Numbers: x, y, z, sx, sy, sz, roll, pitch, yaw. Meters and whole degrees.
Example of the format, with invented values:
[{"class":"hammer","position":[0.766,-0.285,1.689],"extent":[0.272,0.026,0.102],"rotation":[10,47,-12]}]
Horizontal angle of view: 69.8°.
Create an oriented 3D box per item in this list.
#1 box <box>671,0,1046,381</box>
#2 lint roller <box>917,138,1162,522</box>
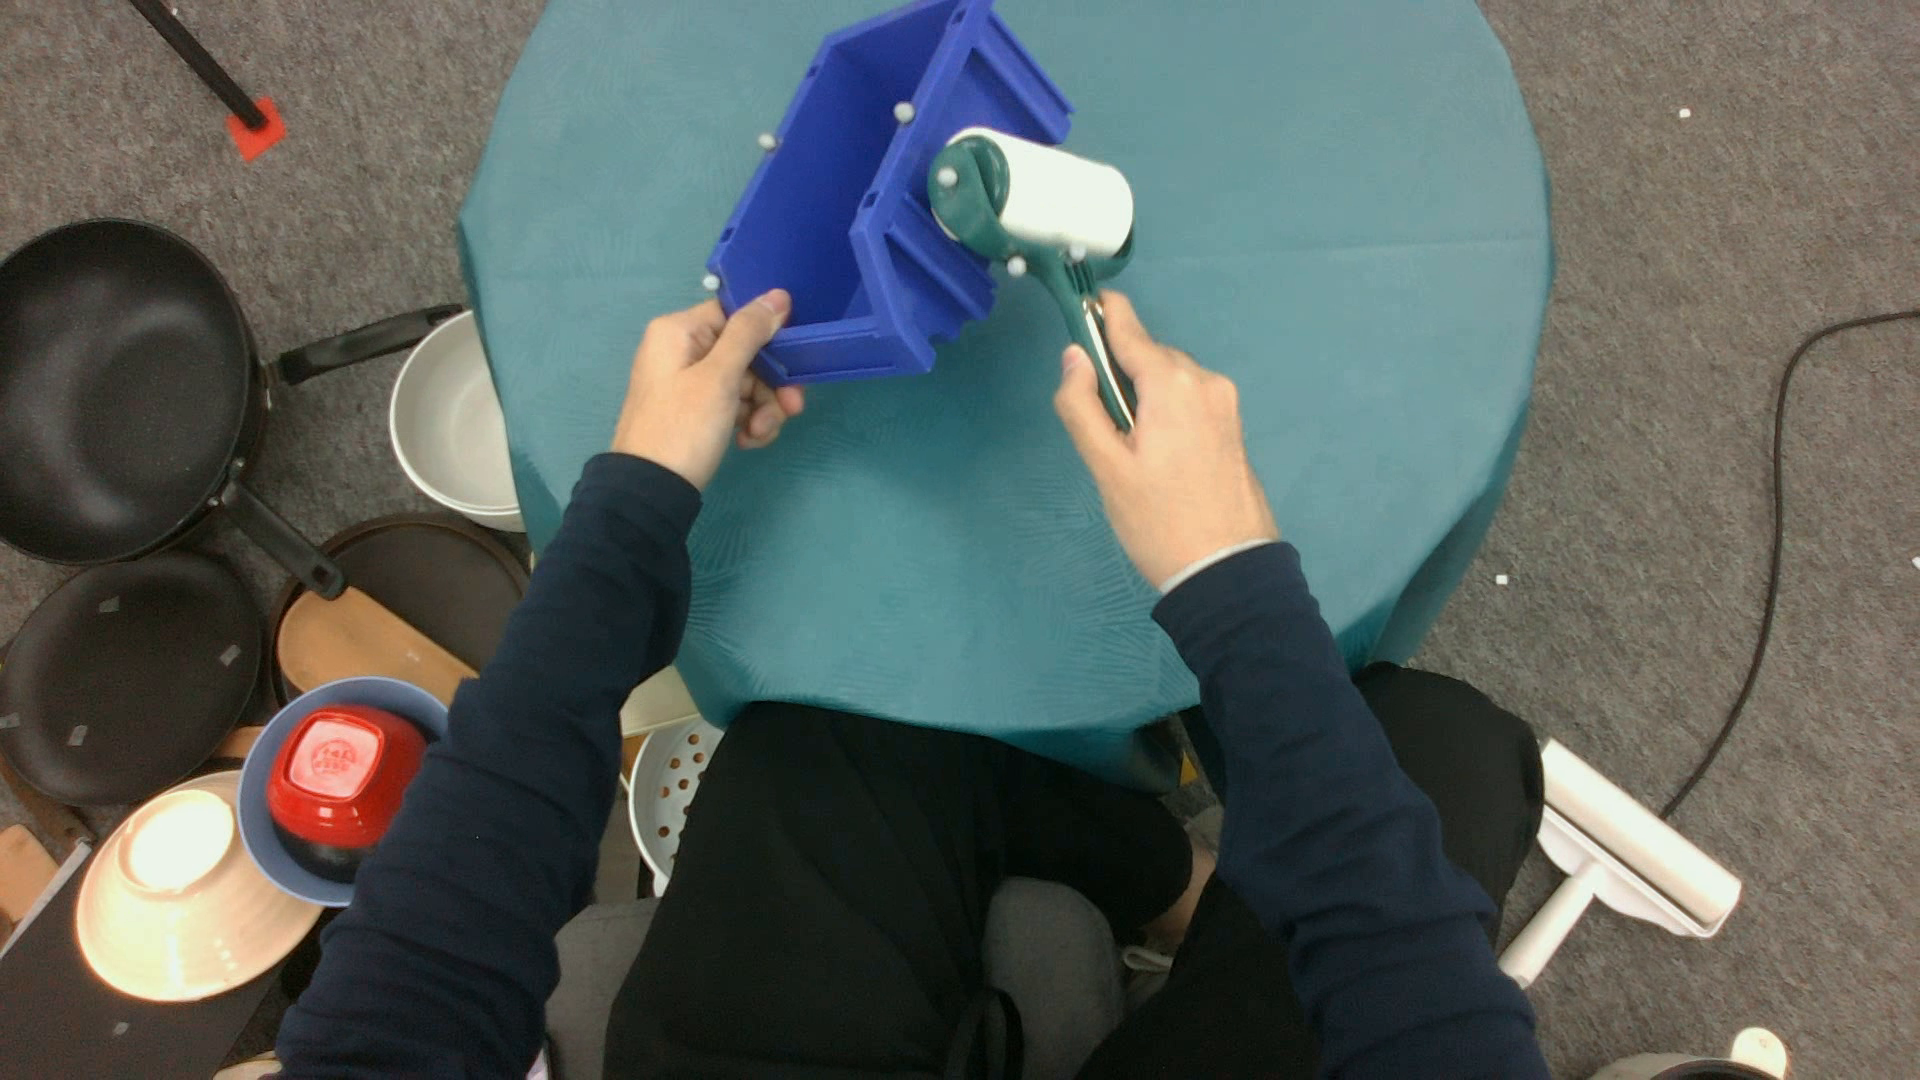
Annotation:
[{"class":"box","position":[-0.050,-0.164,0.663],"extent":[0.124,0.082,0.180],"rotation":[6,64,44]},{"class":"lint roller","position":[0.057,-0.095,0.623],"extent":[0.048,0.134,0.180],"rotation":[-38,73,27]}]
